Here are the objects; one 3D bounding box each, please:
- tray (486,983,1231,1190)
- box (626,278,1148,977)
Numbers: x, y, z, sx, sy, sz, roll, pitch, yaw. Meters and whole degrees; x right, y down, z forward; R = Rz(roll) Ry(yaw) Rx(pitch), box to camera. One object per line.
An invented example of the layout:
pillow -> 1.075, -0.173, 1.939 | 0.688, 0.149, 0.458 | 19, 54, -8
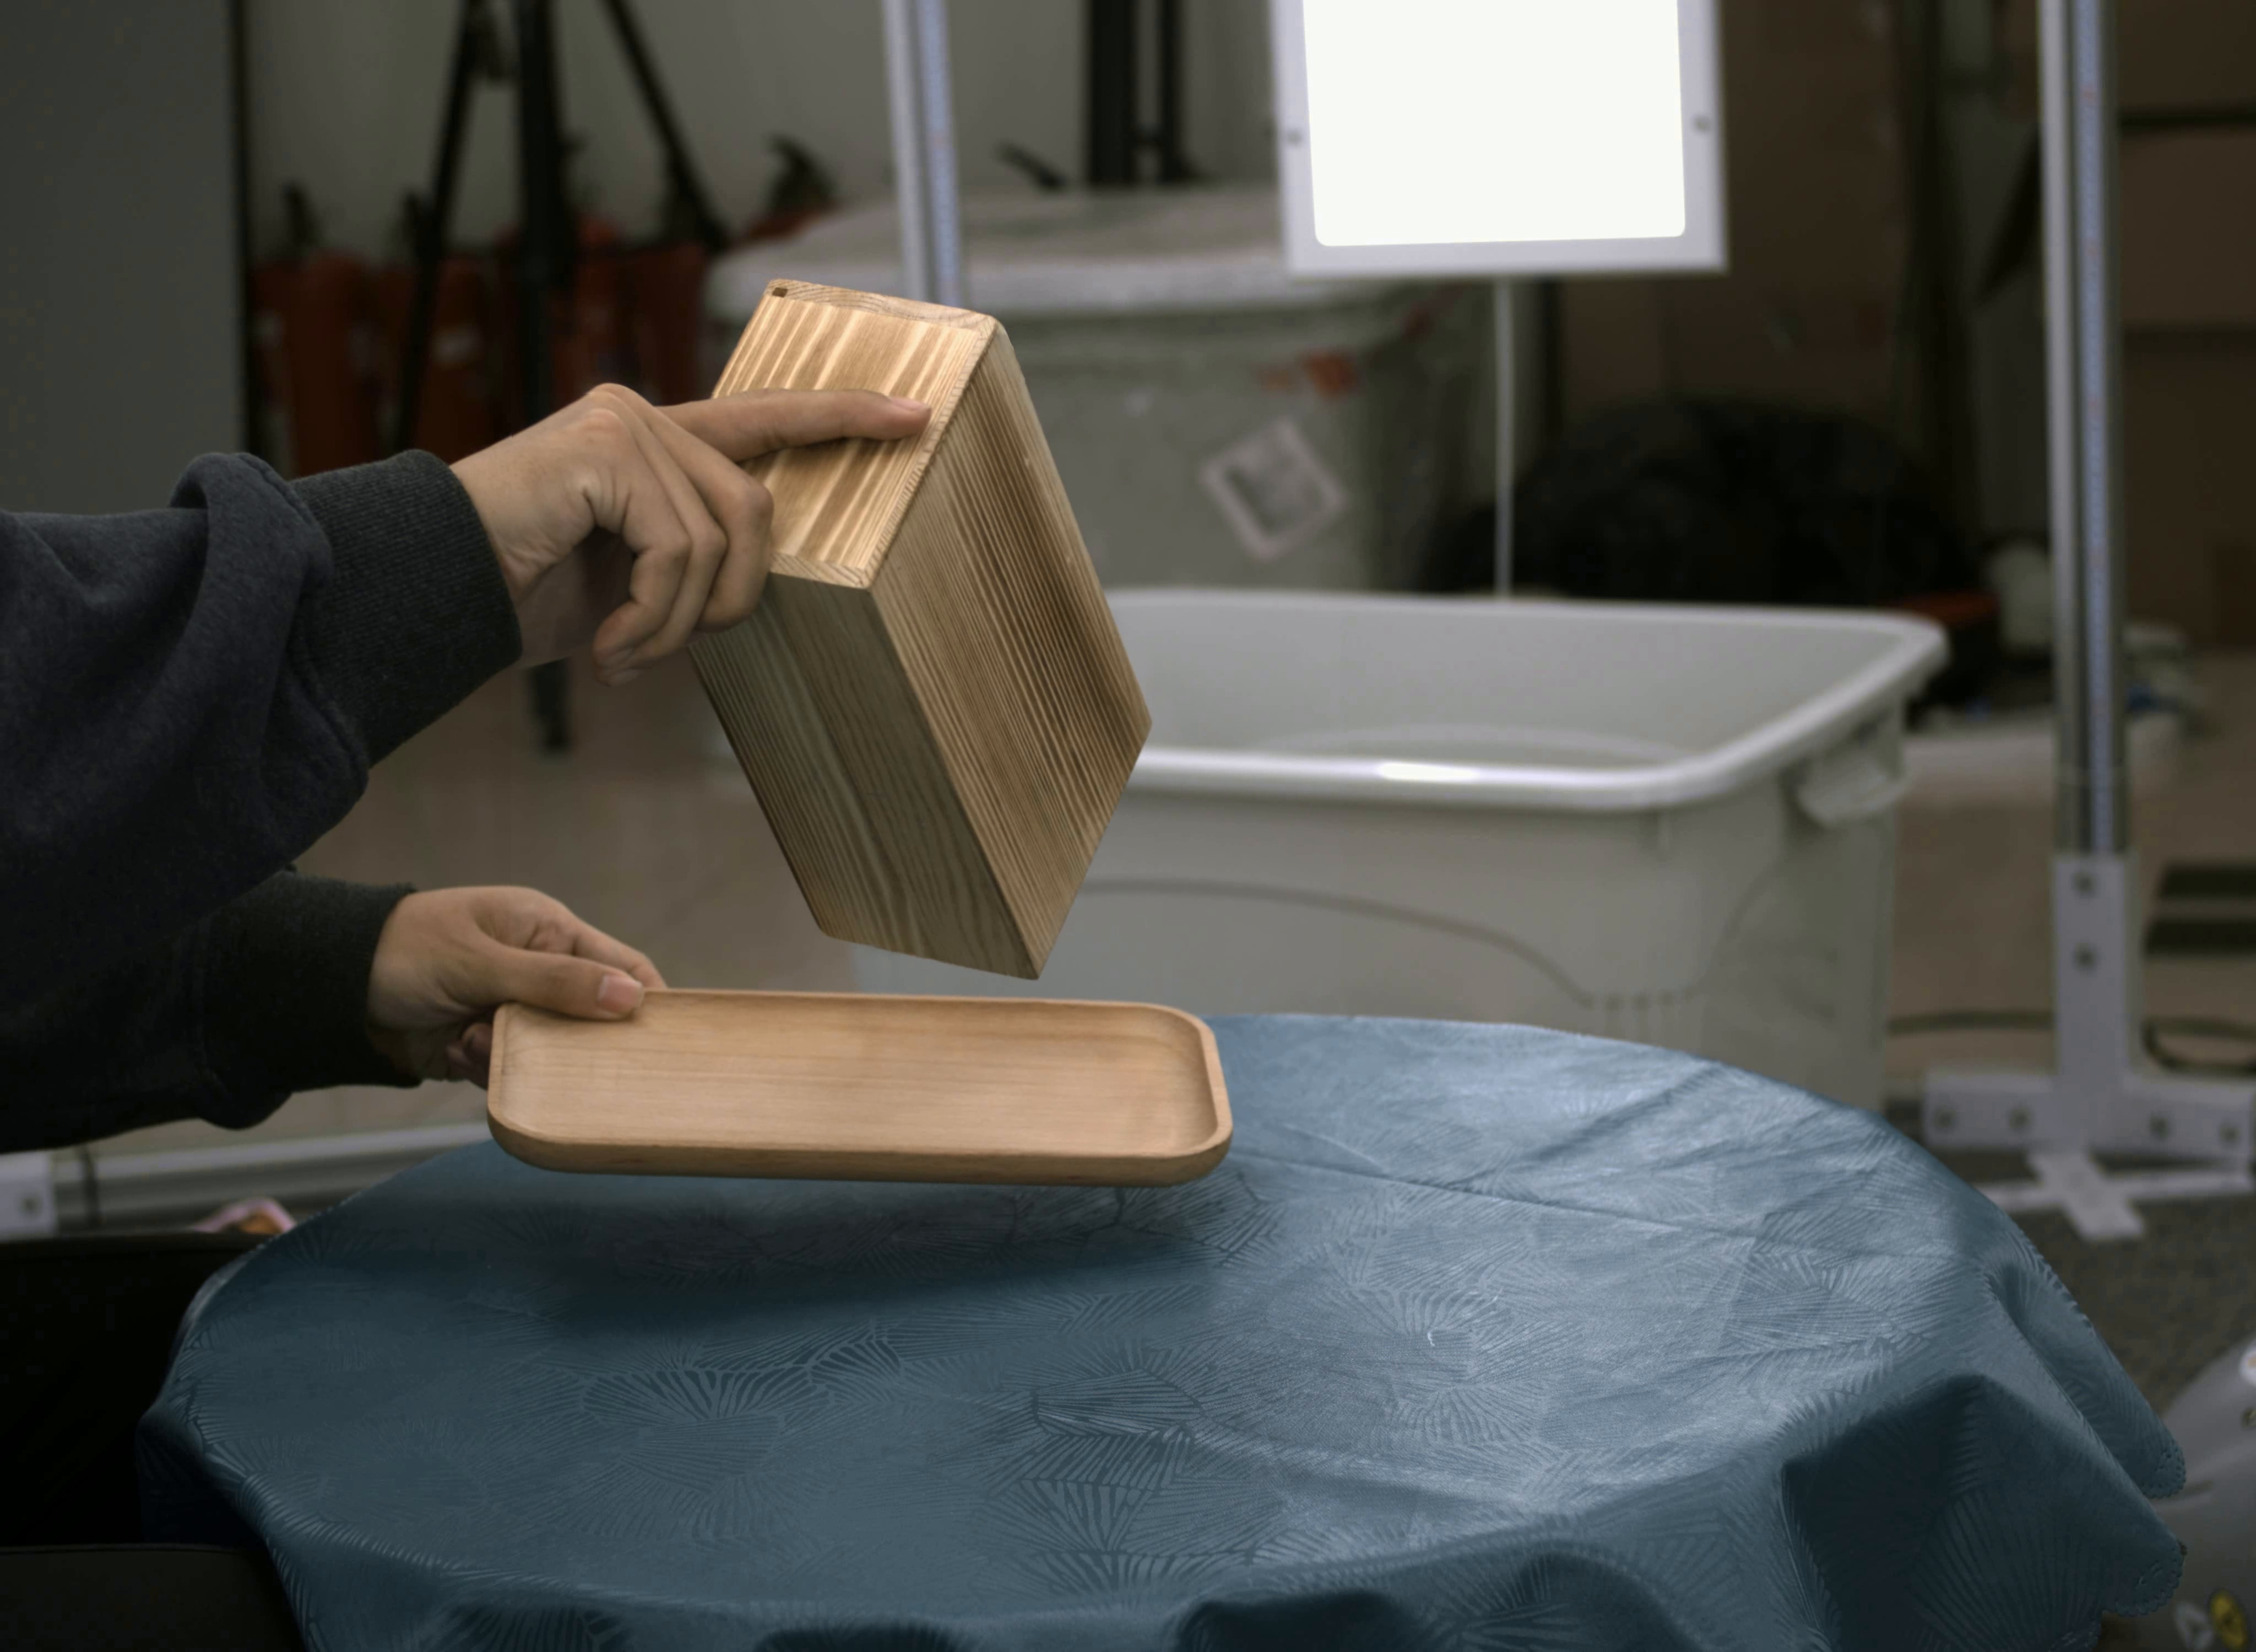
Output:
tray -> -0.092, 0.089, 1.873 | 0.249, 0.023, 0.130 | 1, 20, -2
box -> -0.071, -0.059, 1.718 | 0.081, 0.210, 0.106 | 12, 60, 24
